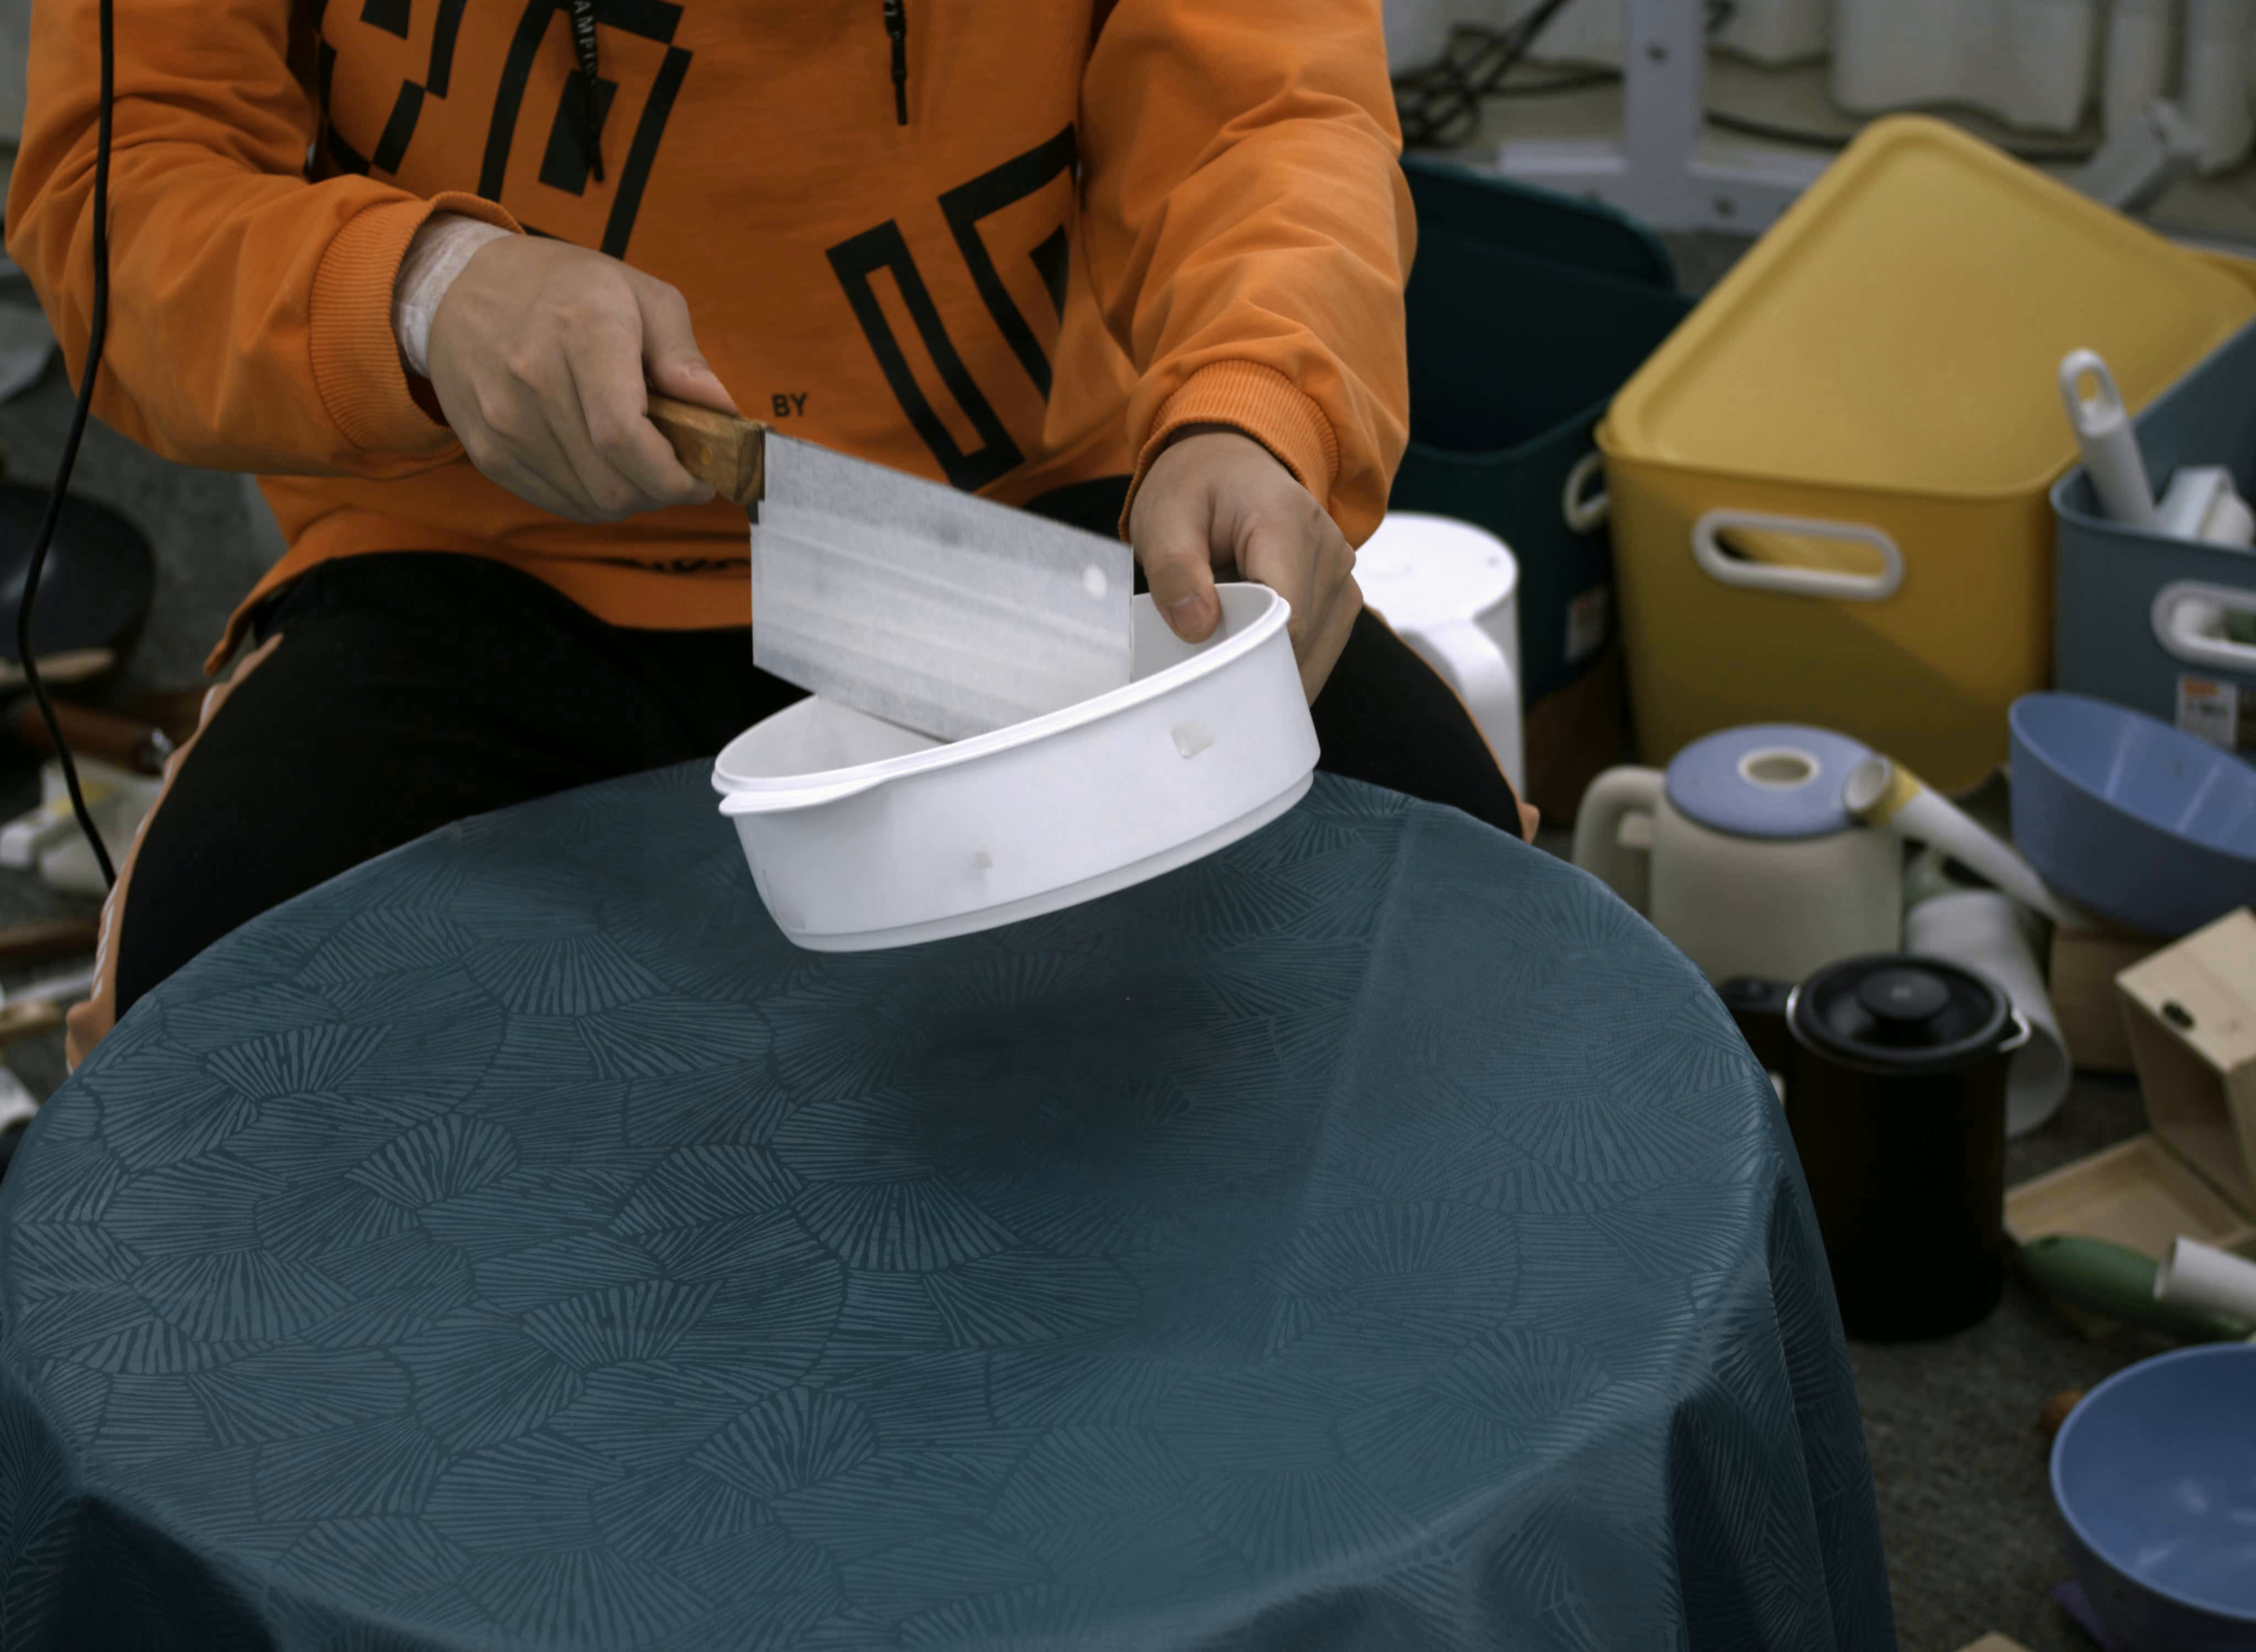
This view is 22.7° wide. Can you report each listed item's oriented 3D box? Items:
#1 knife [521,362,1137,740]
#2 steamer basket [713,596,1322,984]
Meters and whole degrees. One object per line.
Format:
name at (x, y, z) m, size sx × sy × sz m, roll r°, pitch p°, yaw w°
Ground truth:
knife at (-0.105, -0.092, 1.919) m, size 0.021 × 0.092 × 0.305 m, roll -19°, pitch 27°, yaw -41°
steamer basket at (-0.034, -0.011, 1.867) m, size 0.200 × 0.069 × 0.234 m, roll -2°, pitch 20°, yaw 42°
